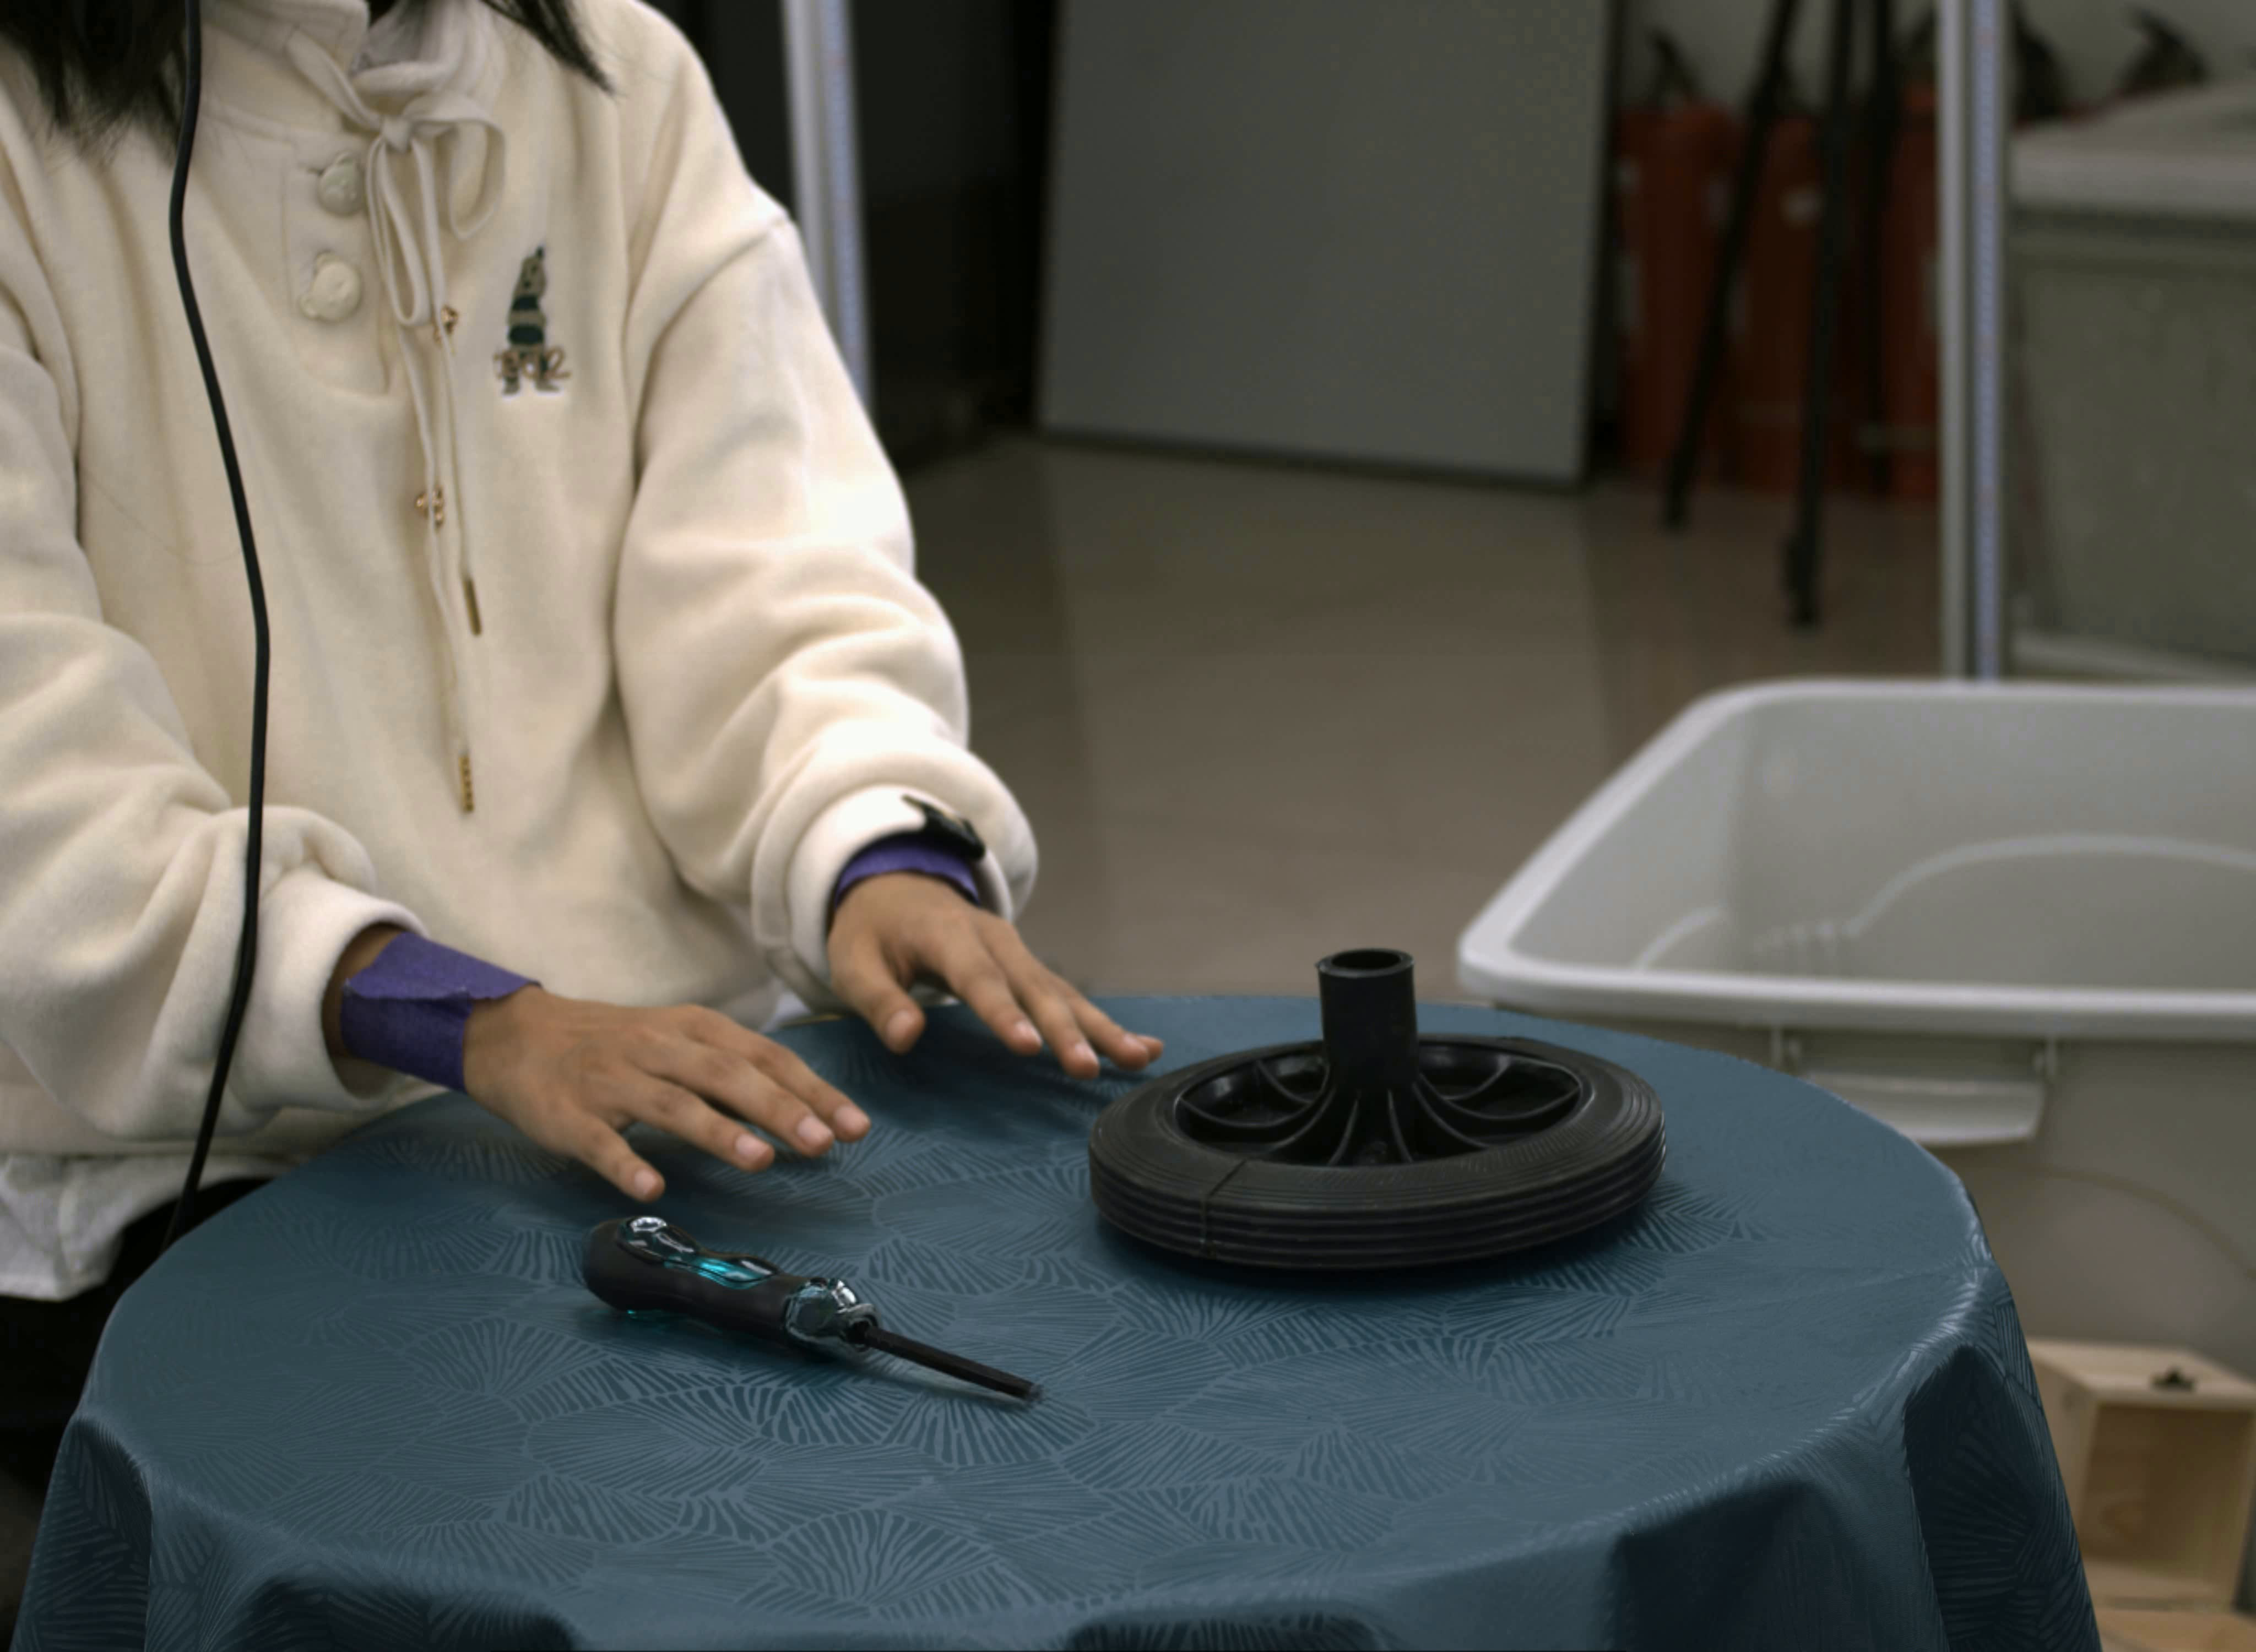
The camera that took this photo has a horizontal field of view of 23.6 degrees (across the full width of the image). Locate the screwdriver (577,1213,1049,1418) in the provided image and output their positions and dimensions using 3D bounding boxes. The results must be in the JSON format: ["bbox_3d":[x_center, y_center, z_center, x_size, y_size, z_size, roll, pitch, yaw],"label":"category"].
[{"bbox_3d":[-0.095,0.152,1.630,0.191,0.034,0.033,15,22,40],"label":"screwdriver"}]

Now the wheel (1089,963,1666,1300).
[{"bbox_3d":[0.079,0.087,1.729,0.184,0.080,0.191,-8,18,-14],"label":"wheel"}]
